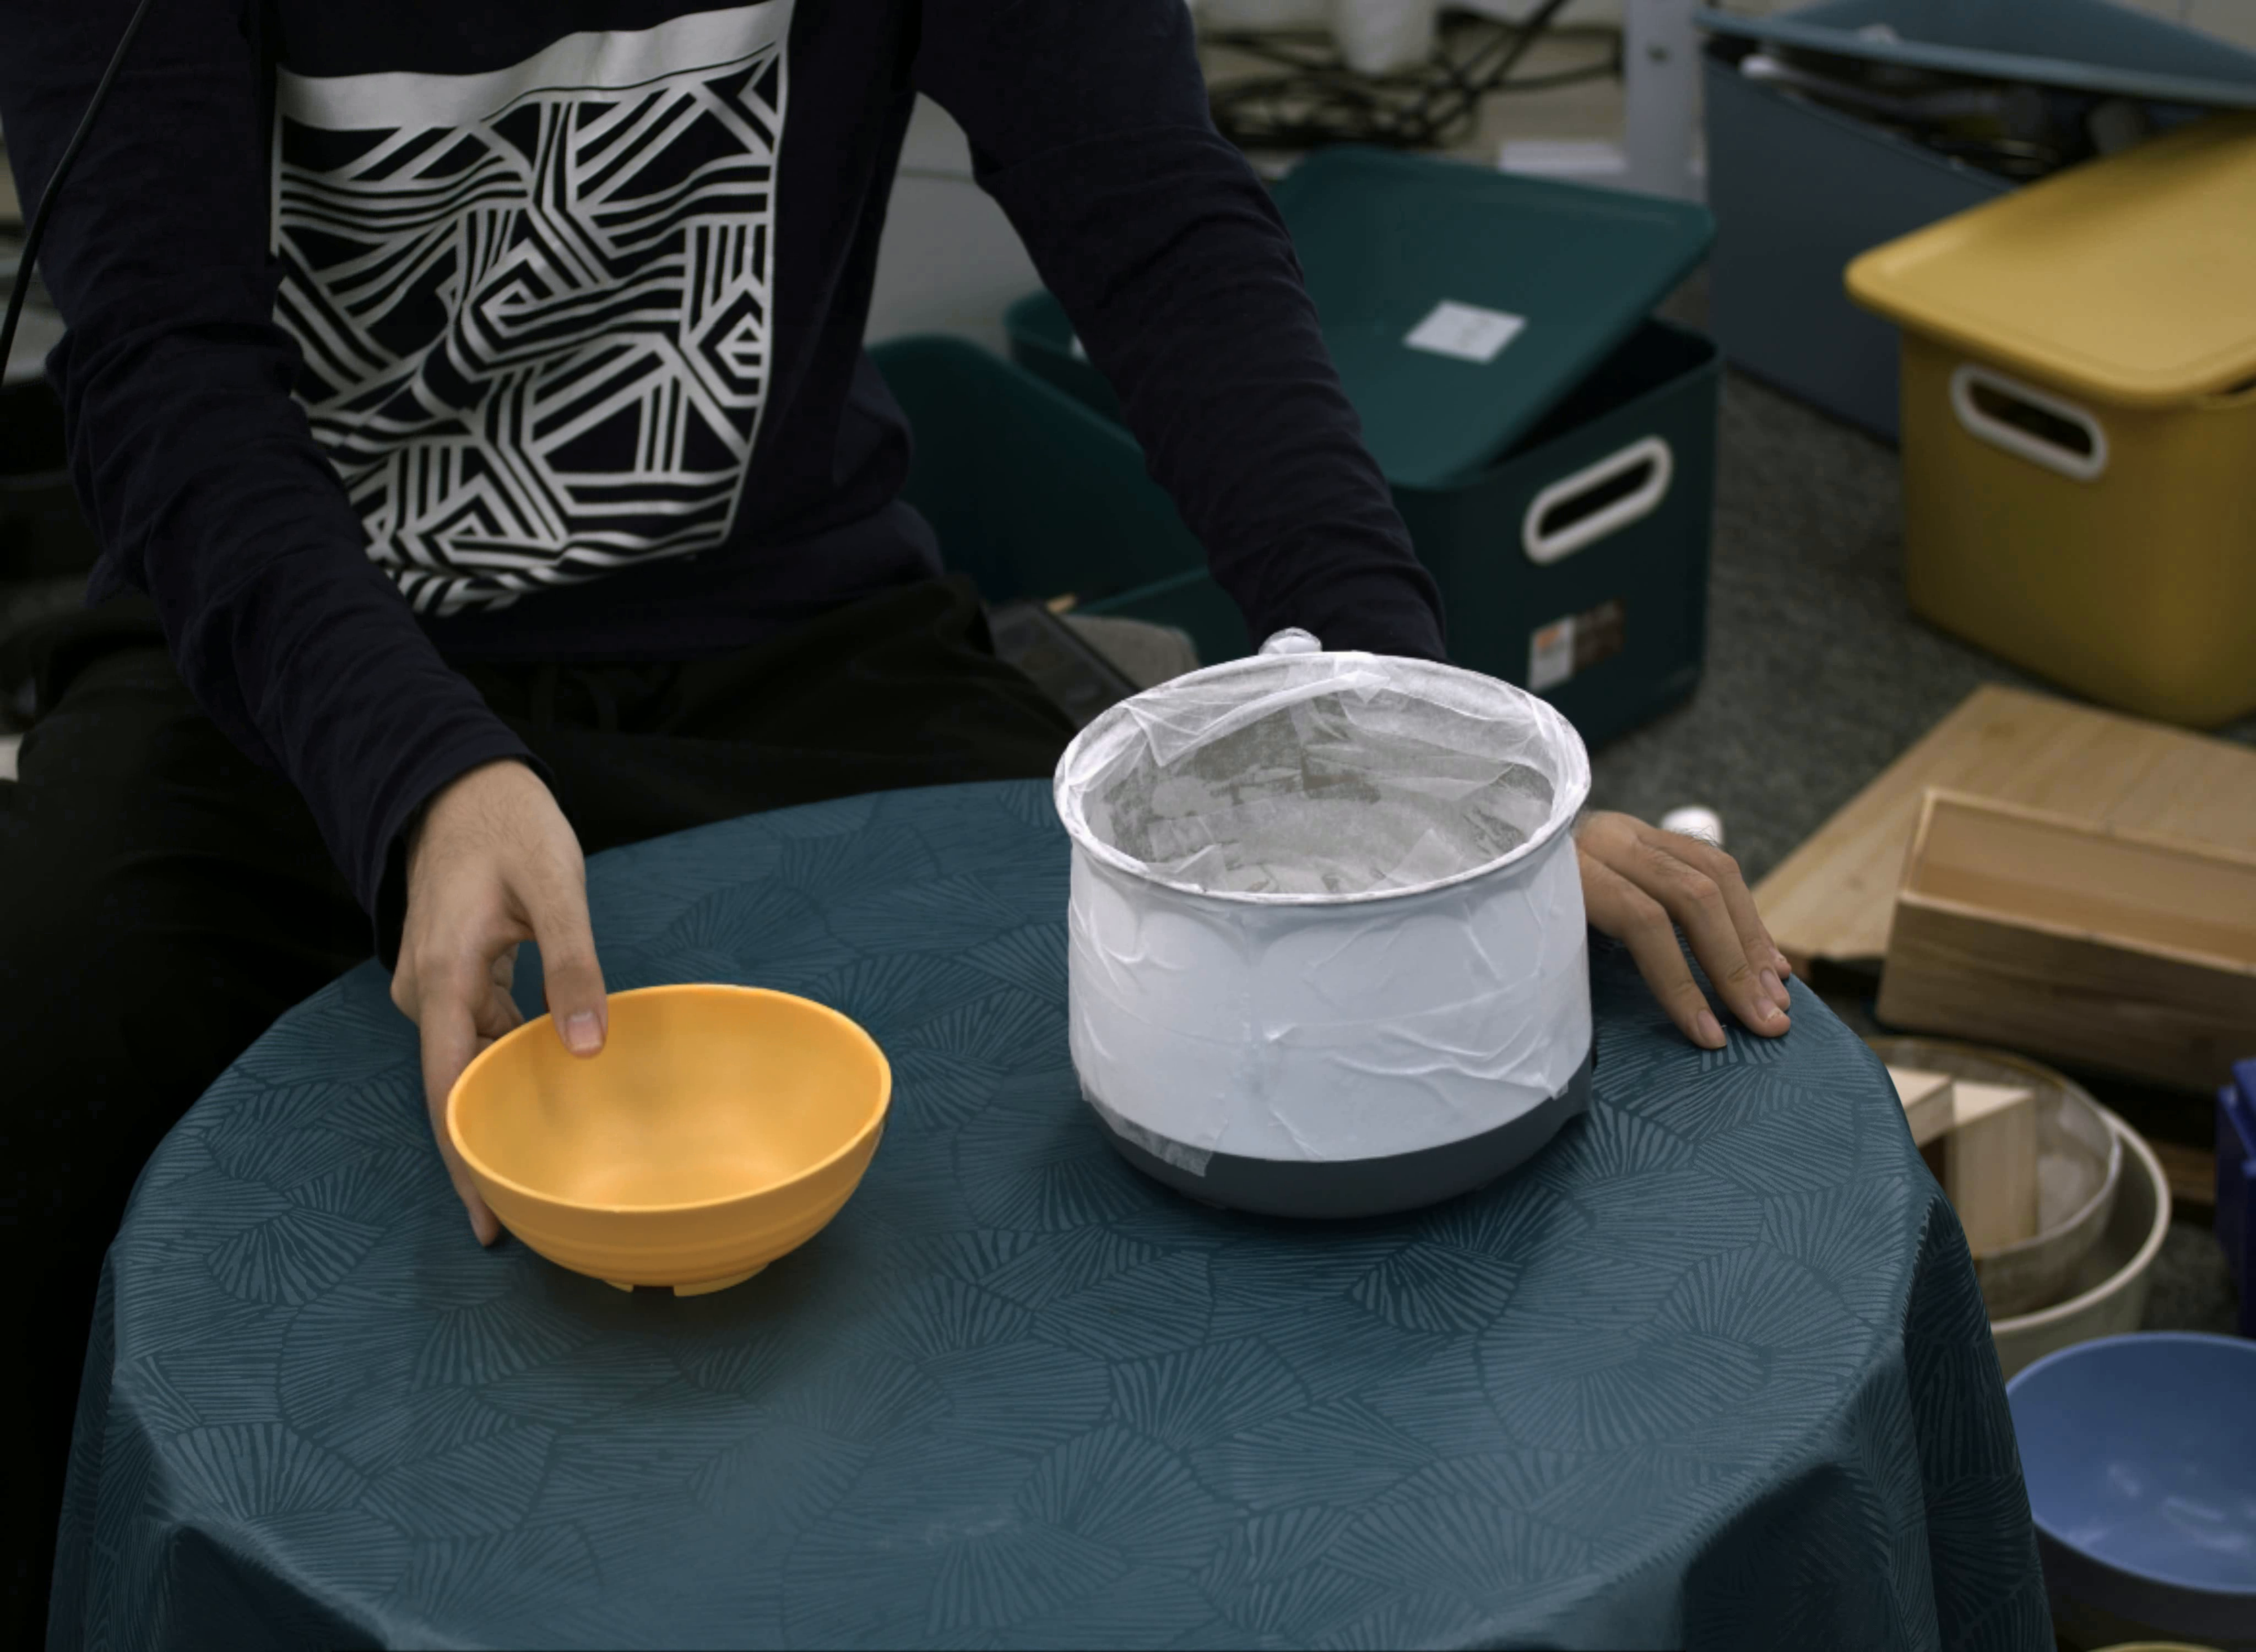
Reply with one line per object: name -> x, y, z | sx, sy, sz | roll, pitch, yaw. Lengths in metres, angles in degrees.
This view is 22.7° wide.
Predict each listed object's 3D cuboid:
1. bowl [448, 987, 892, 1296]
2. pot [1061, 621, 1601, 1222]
bowl -> -0.146, 0.112, 1.828 | 0.144, 0.059, 0.147 | -3, 26, 2
pot -> 0.063, 0.025, 1.894 | 0.178, 0.135, 0.237 | -2, 28, -5
